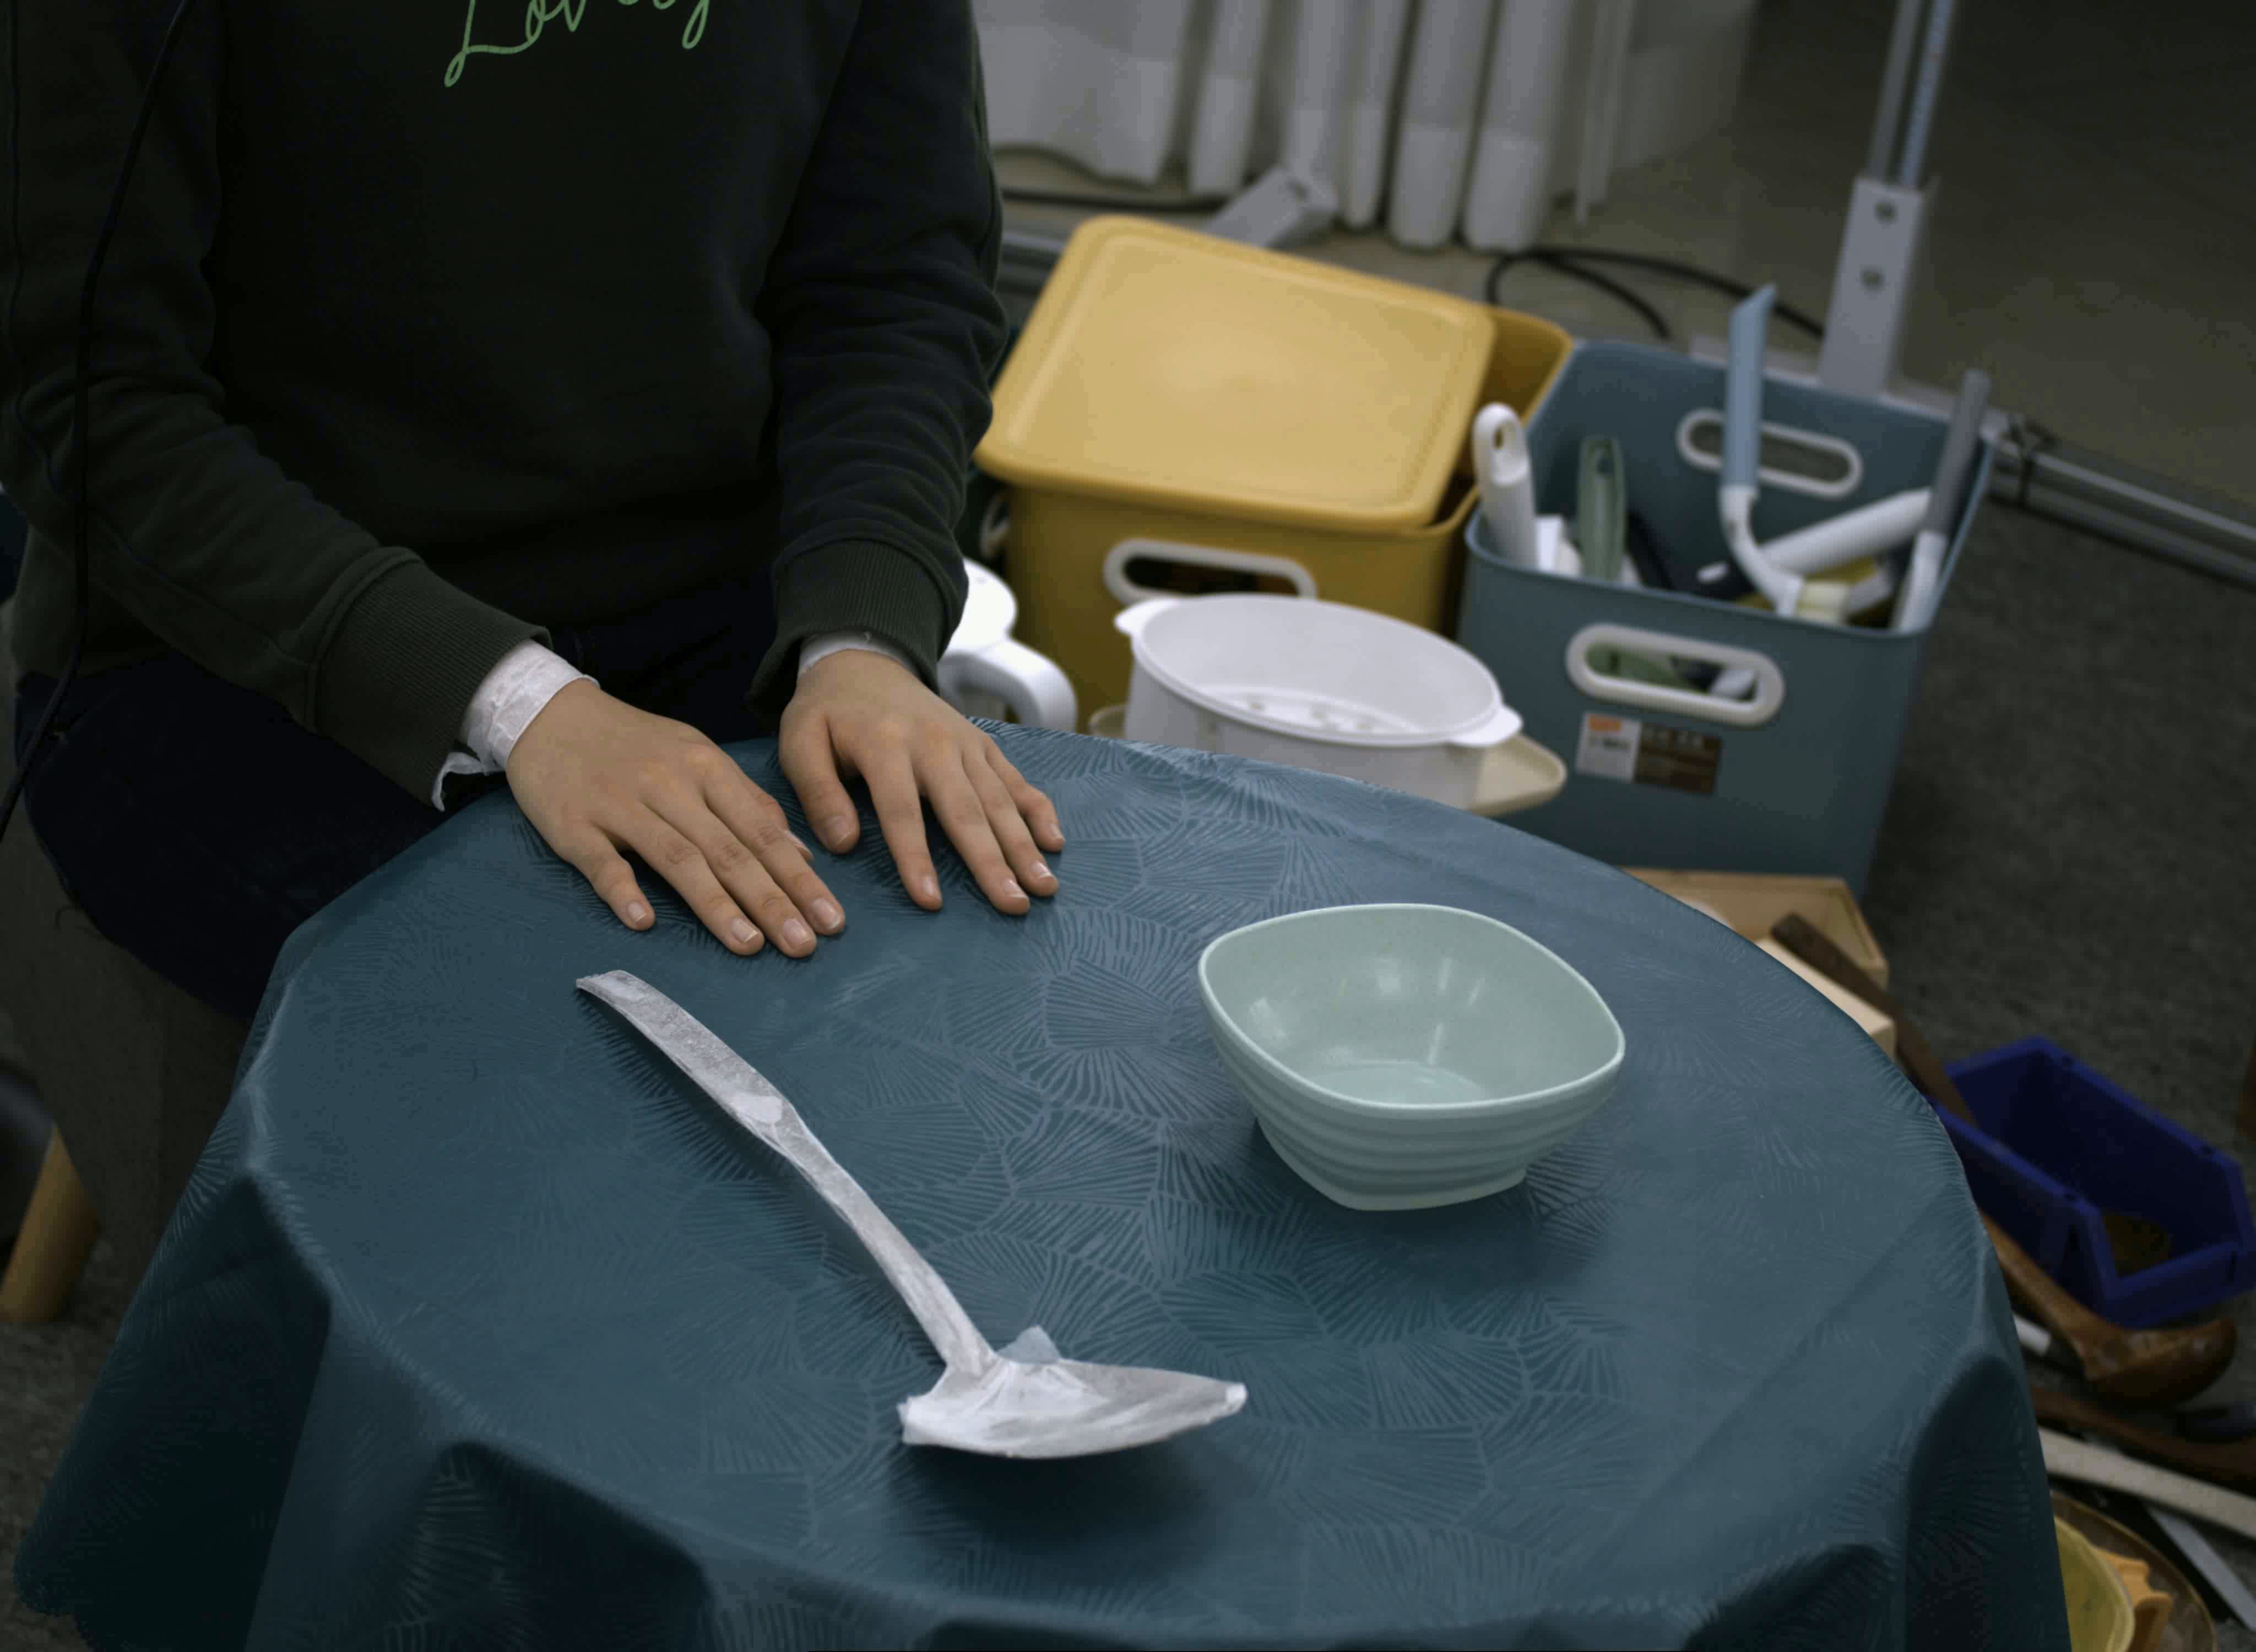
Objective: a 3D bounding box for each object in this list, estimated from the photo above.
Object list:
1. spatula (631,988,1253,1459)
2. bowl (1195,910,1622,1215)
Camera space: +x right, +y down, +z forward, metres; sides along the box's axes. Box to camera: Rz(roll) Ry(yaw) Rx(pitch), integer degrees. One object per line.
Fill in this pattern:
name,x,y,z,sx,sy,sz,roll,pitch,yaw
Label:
spatula,-0.085,0.122,1.742,0.098,0.044,0.368,-11,32,-28
bowl,0.092,0.087,1.834,0.151,0.058,0.152,7,26,-4
